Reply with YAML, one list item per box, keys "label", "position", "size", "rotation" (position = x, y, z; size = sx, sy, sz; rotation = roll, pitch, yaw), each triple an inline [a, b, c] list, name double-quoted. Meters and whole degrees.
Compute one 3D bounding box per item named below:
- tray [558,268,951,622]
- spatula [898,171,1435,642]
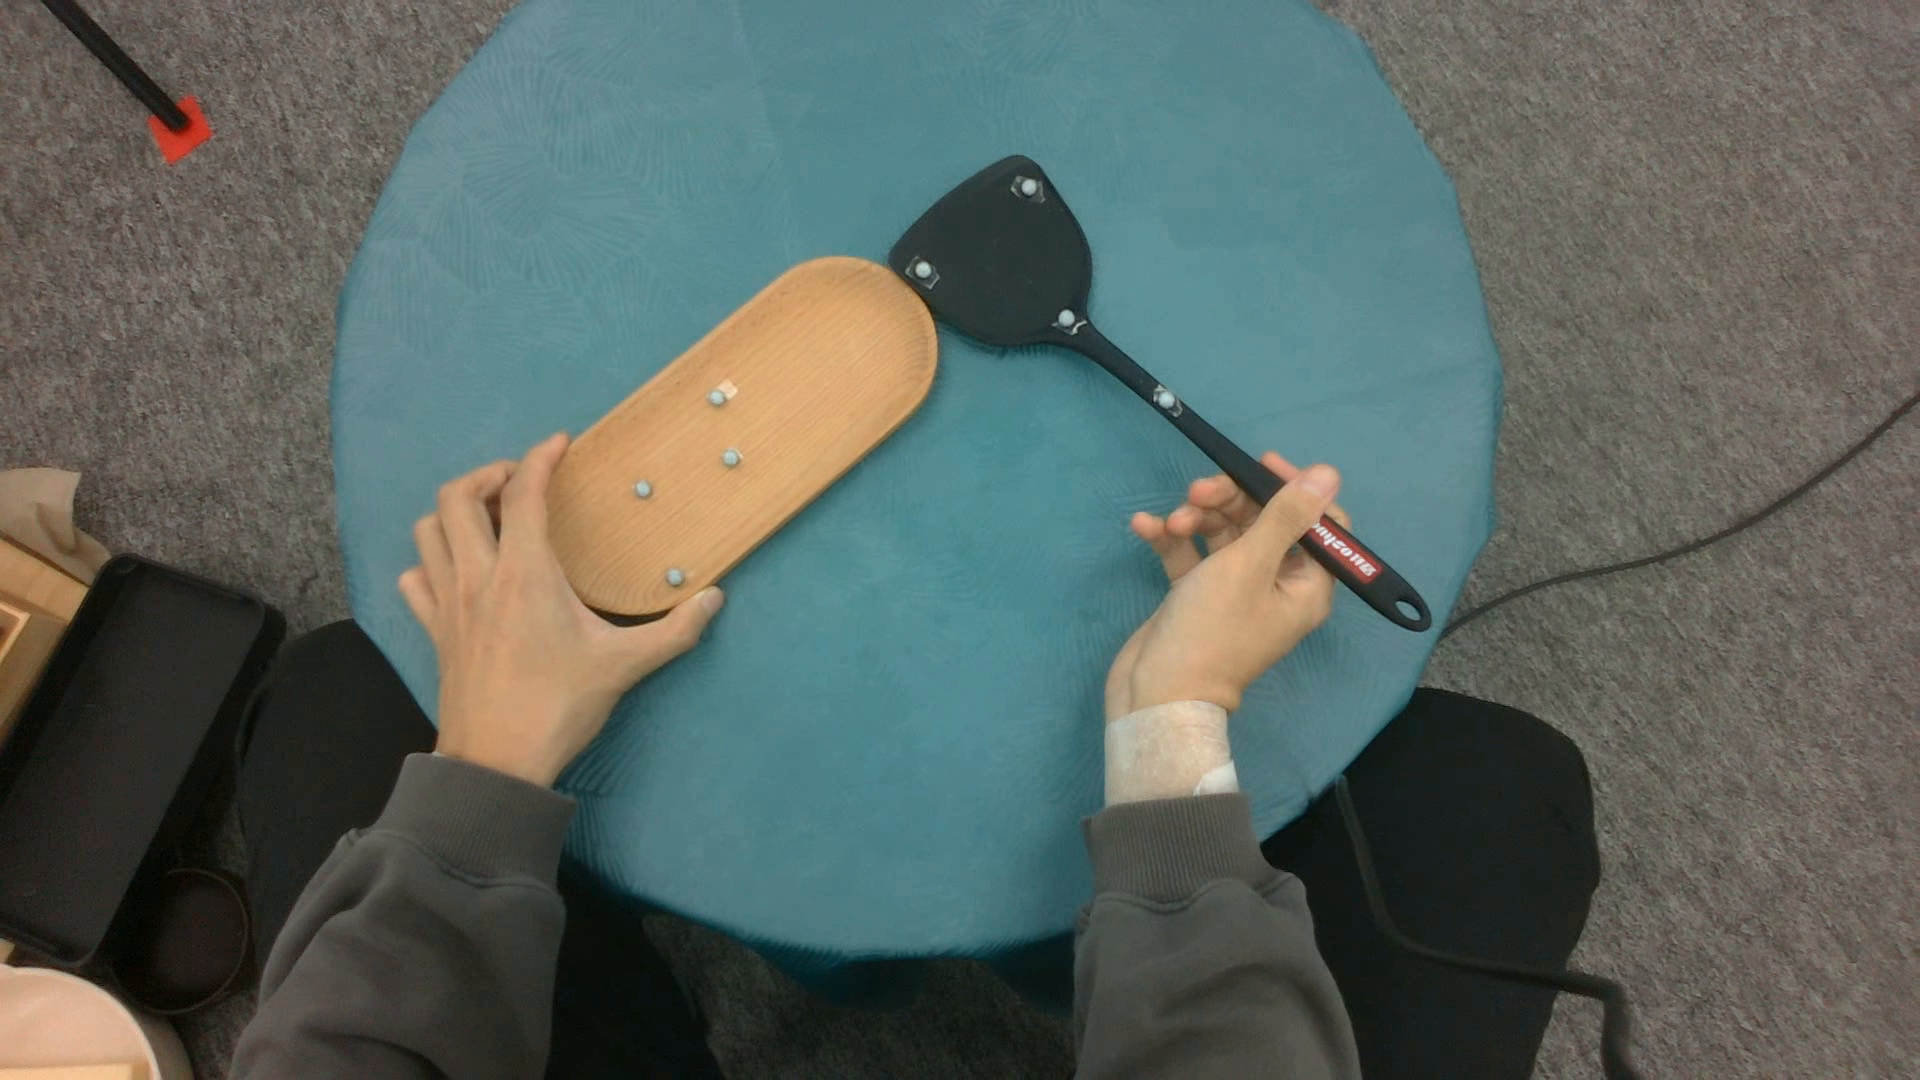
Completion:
- label: "tray"
  position: [-0.104, -0.050, 0.710]
  size: [0.231, 0.020, 0.102]
  rotation: [-41, 80, -10]
- label: "spatula"
  position: [0.105, -0.064, 0.680]
  size: [0.100, 0.040, 0.326]
  rotation: [-41, 64, -11]
